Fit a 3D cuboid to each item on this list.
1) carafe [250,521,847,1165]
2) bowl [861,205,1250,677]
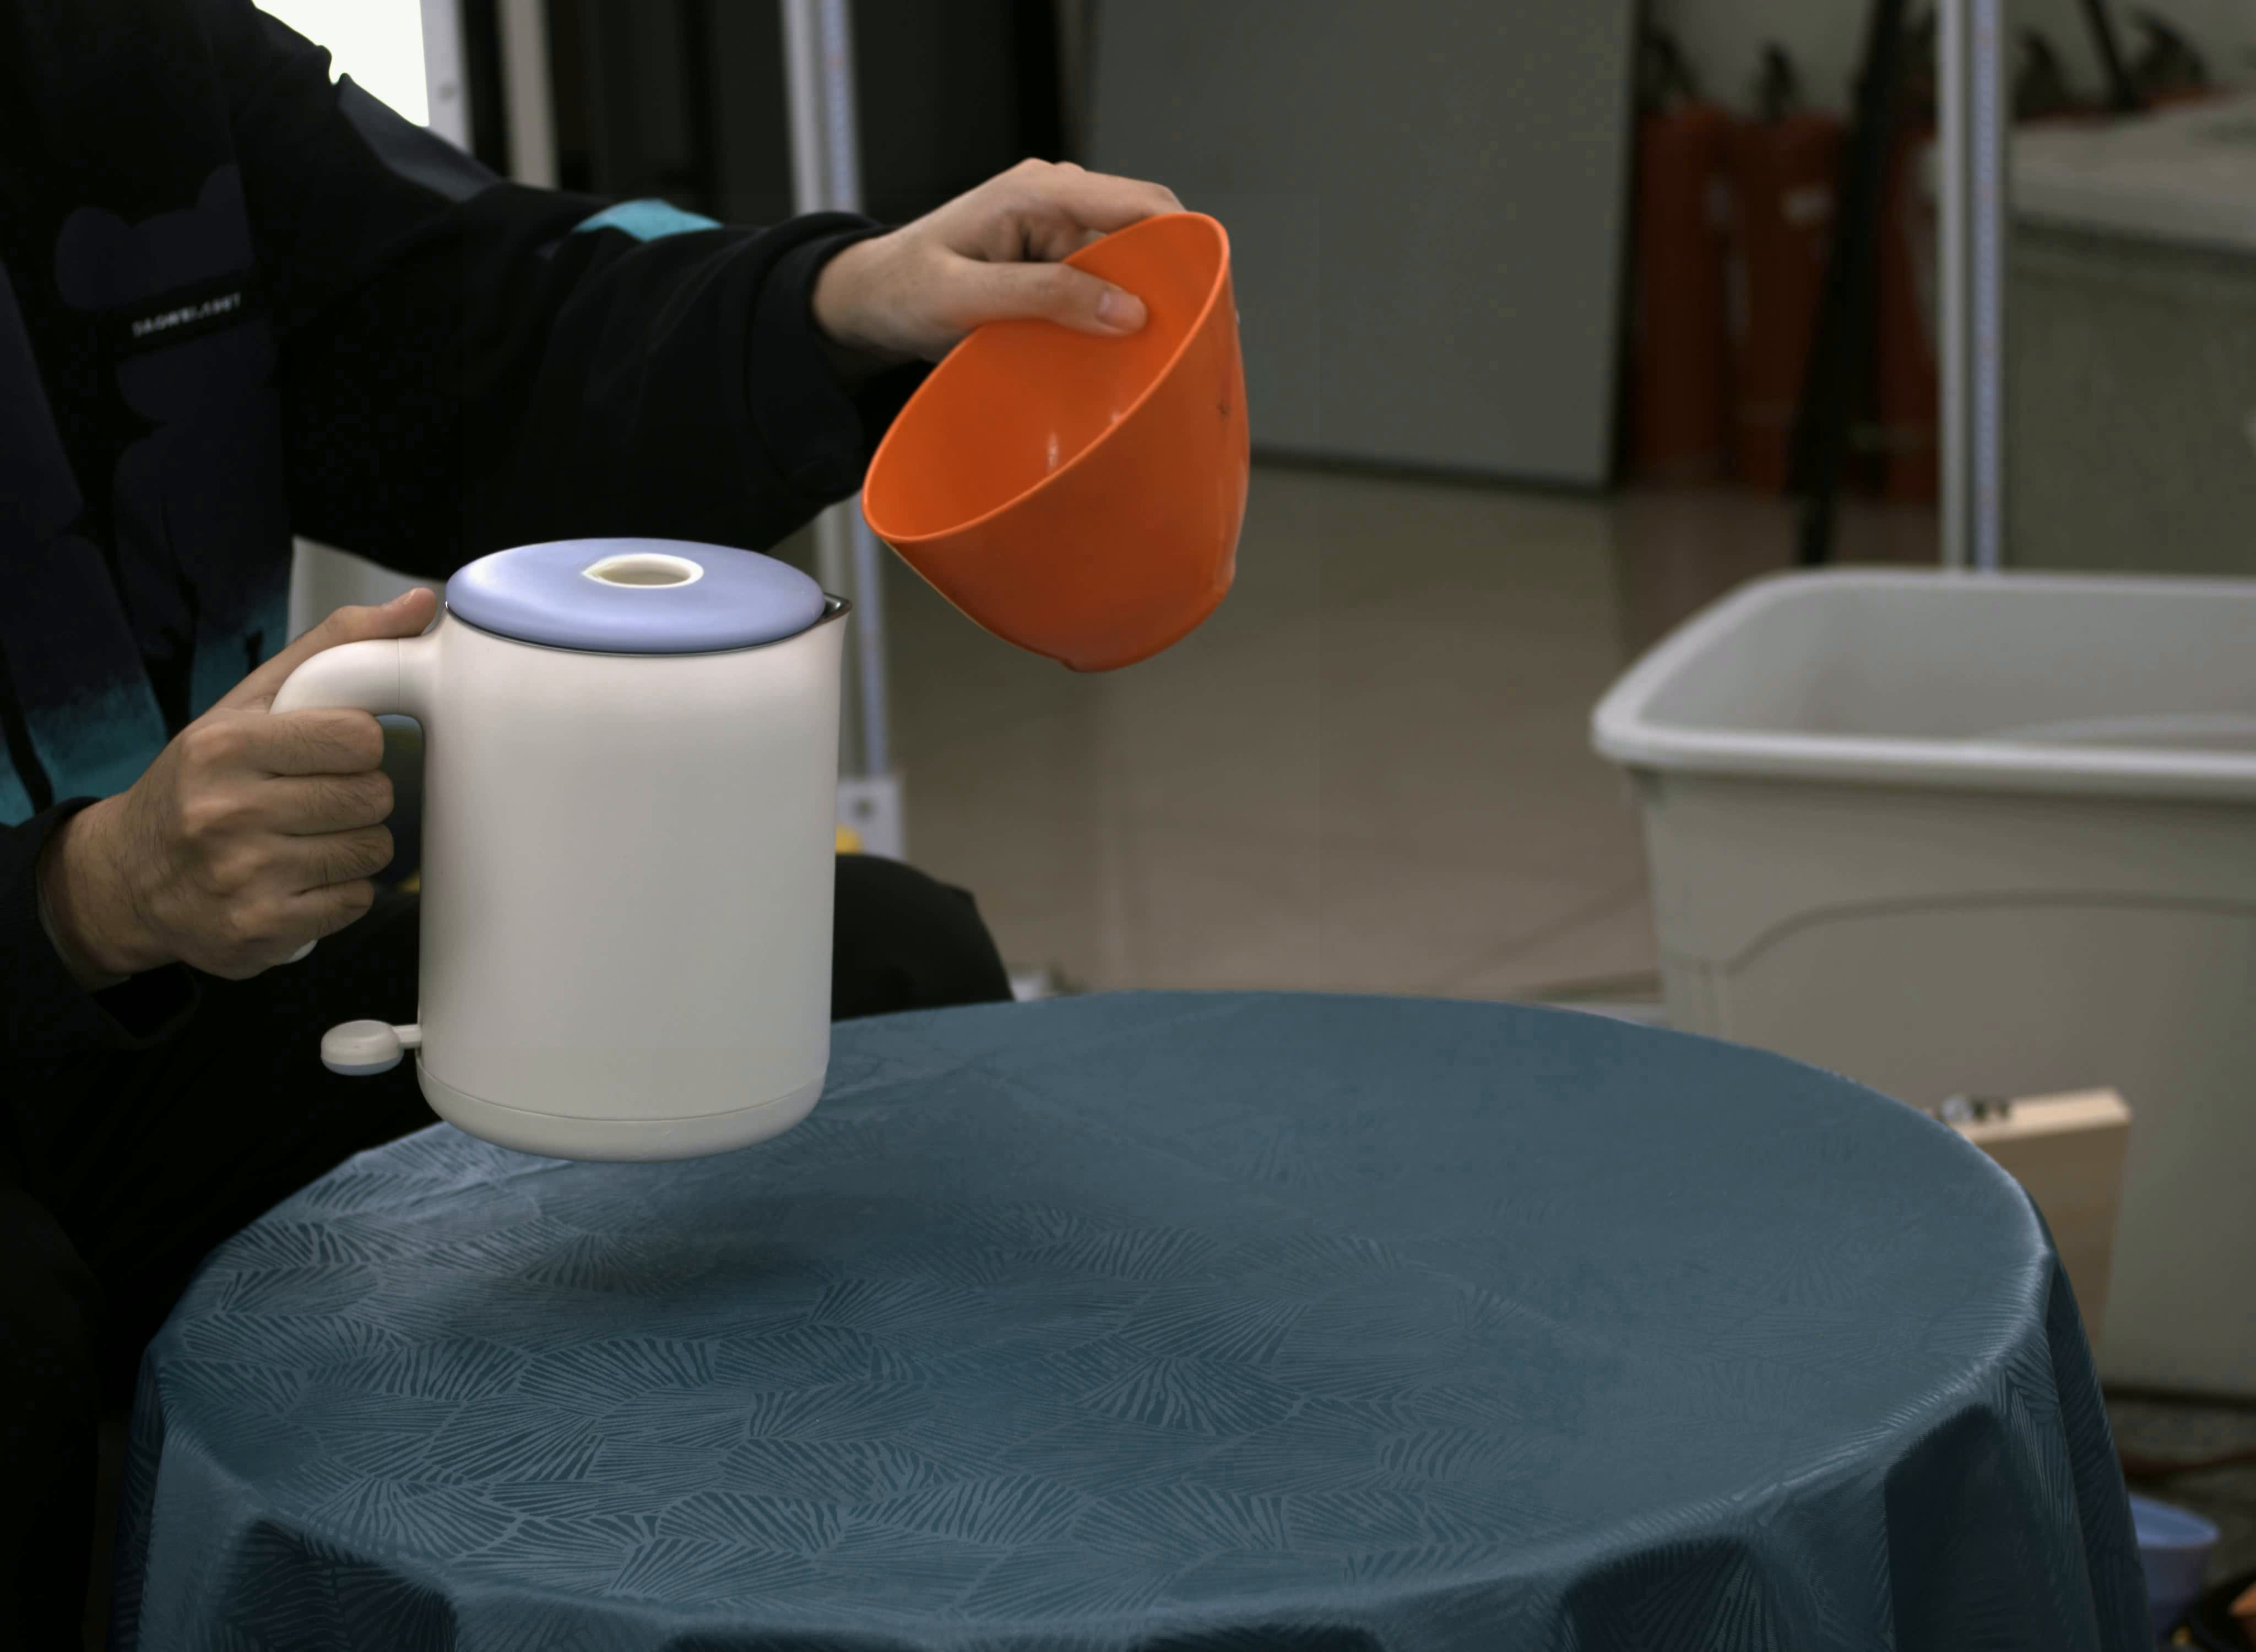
[{"bbox_3d":[-0.179,0.006,1.689,0.187,0.184,0.133,-4,17,-12],"label":"carafe"},{"bbox_3d":[-0.008,-0.113,1.731,0.148,0.104,0.149,-25,27,13],"label":"bowl"}]
